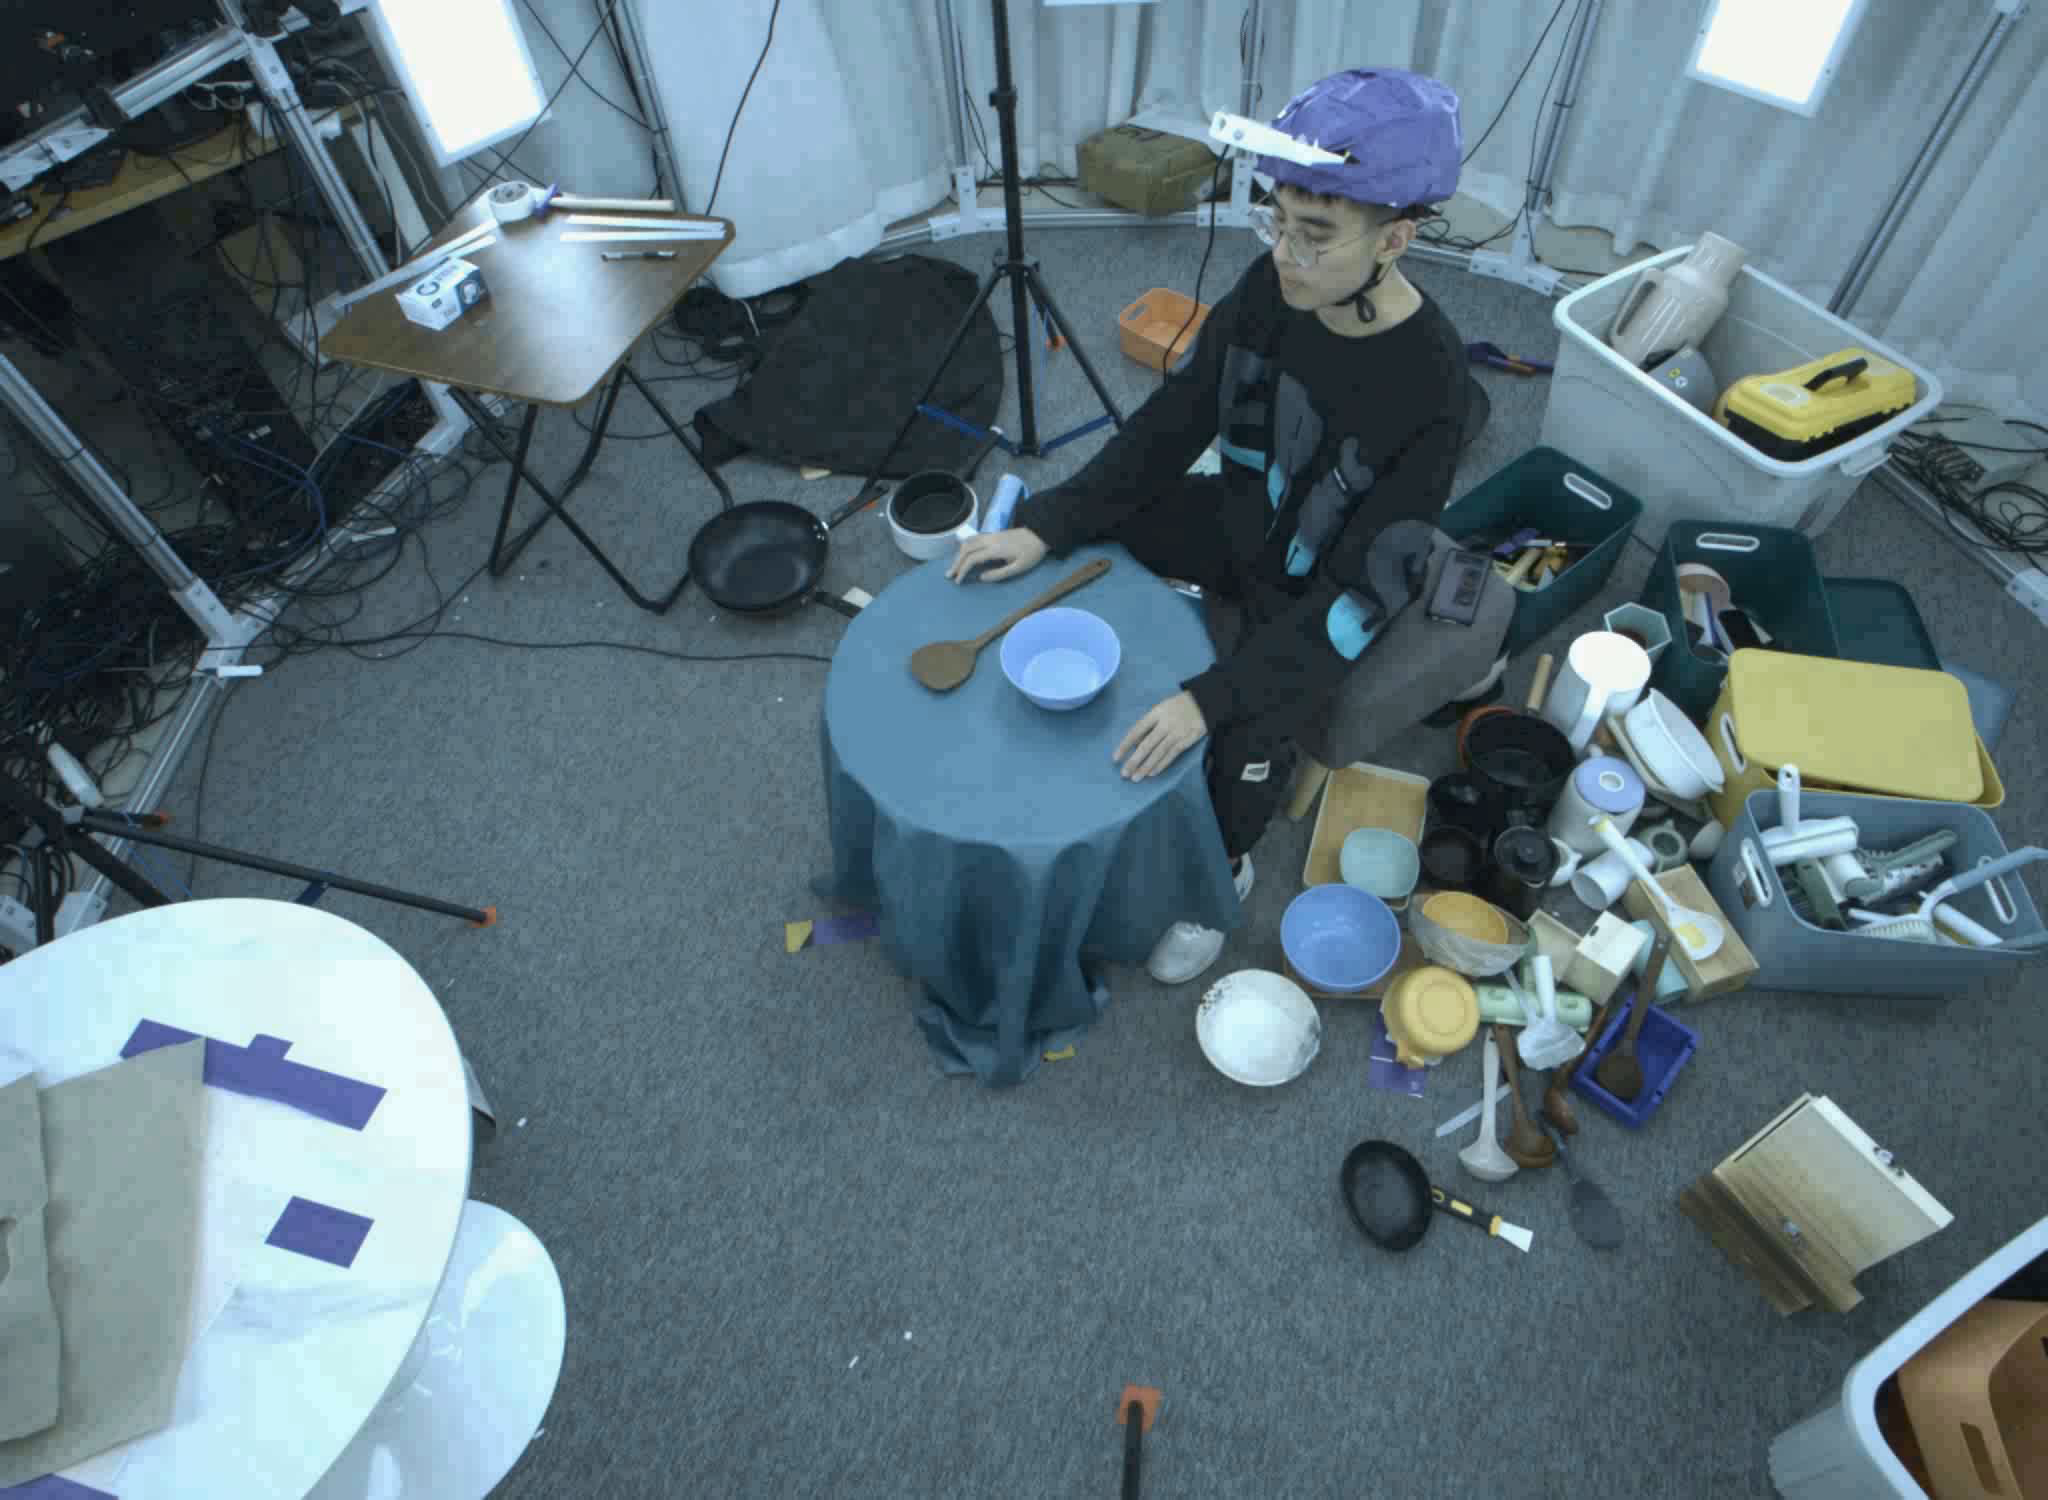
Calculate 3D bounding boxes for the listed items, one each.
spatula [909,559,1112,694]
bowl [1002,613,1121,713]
[{"bbox_3d":[-0.009,-0.206,1.934,0.389,0.016,0.094,-35,61,-21],"label":"spatula"},{"bbox_3d":[0.056,-0.120,1.838,0.176,0.071,0.174,0,54,1],"label":"bowl"}]
